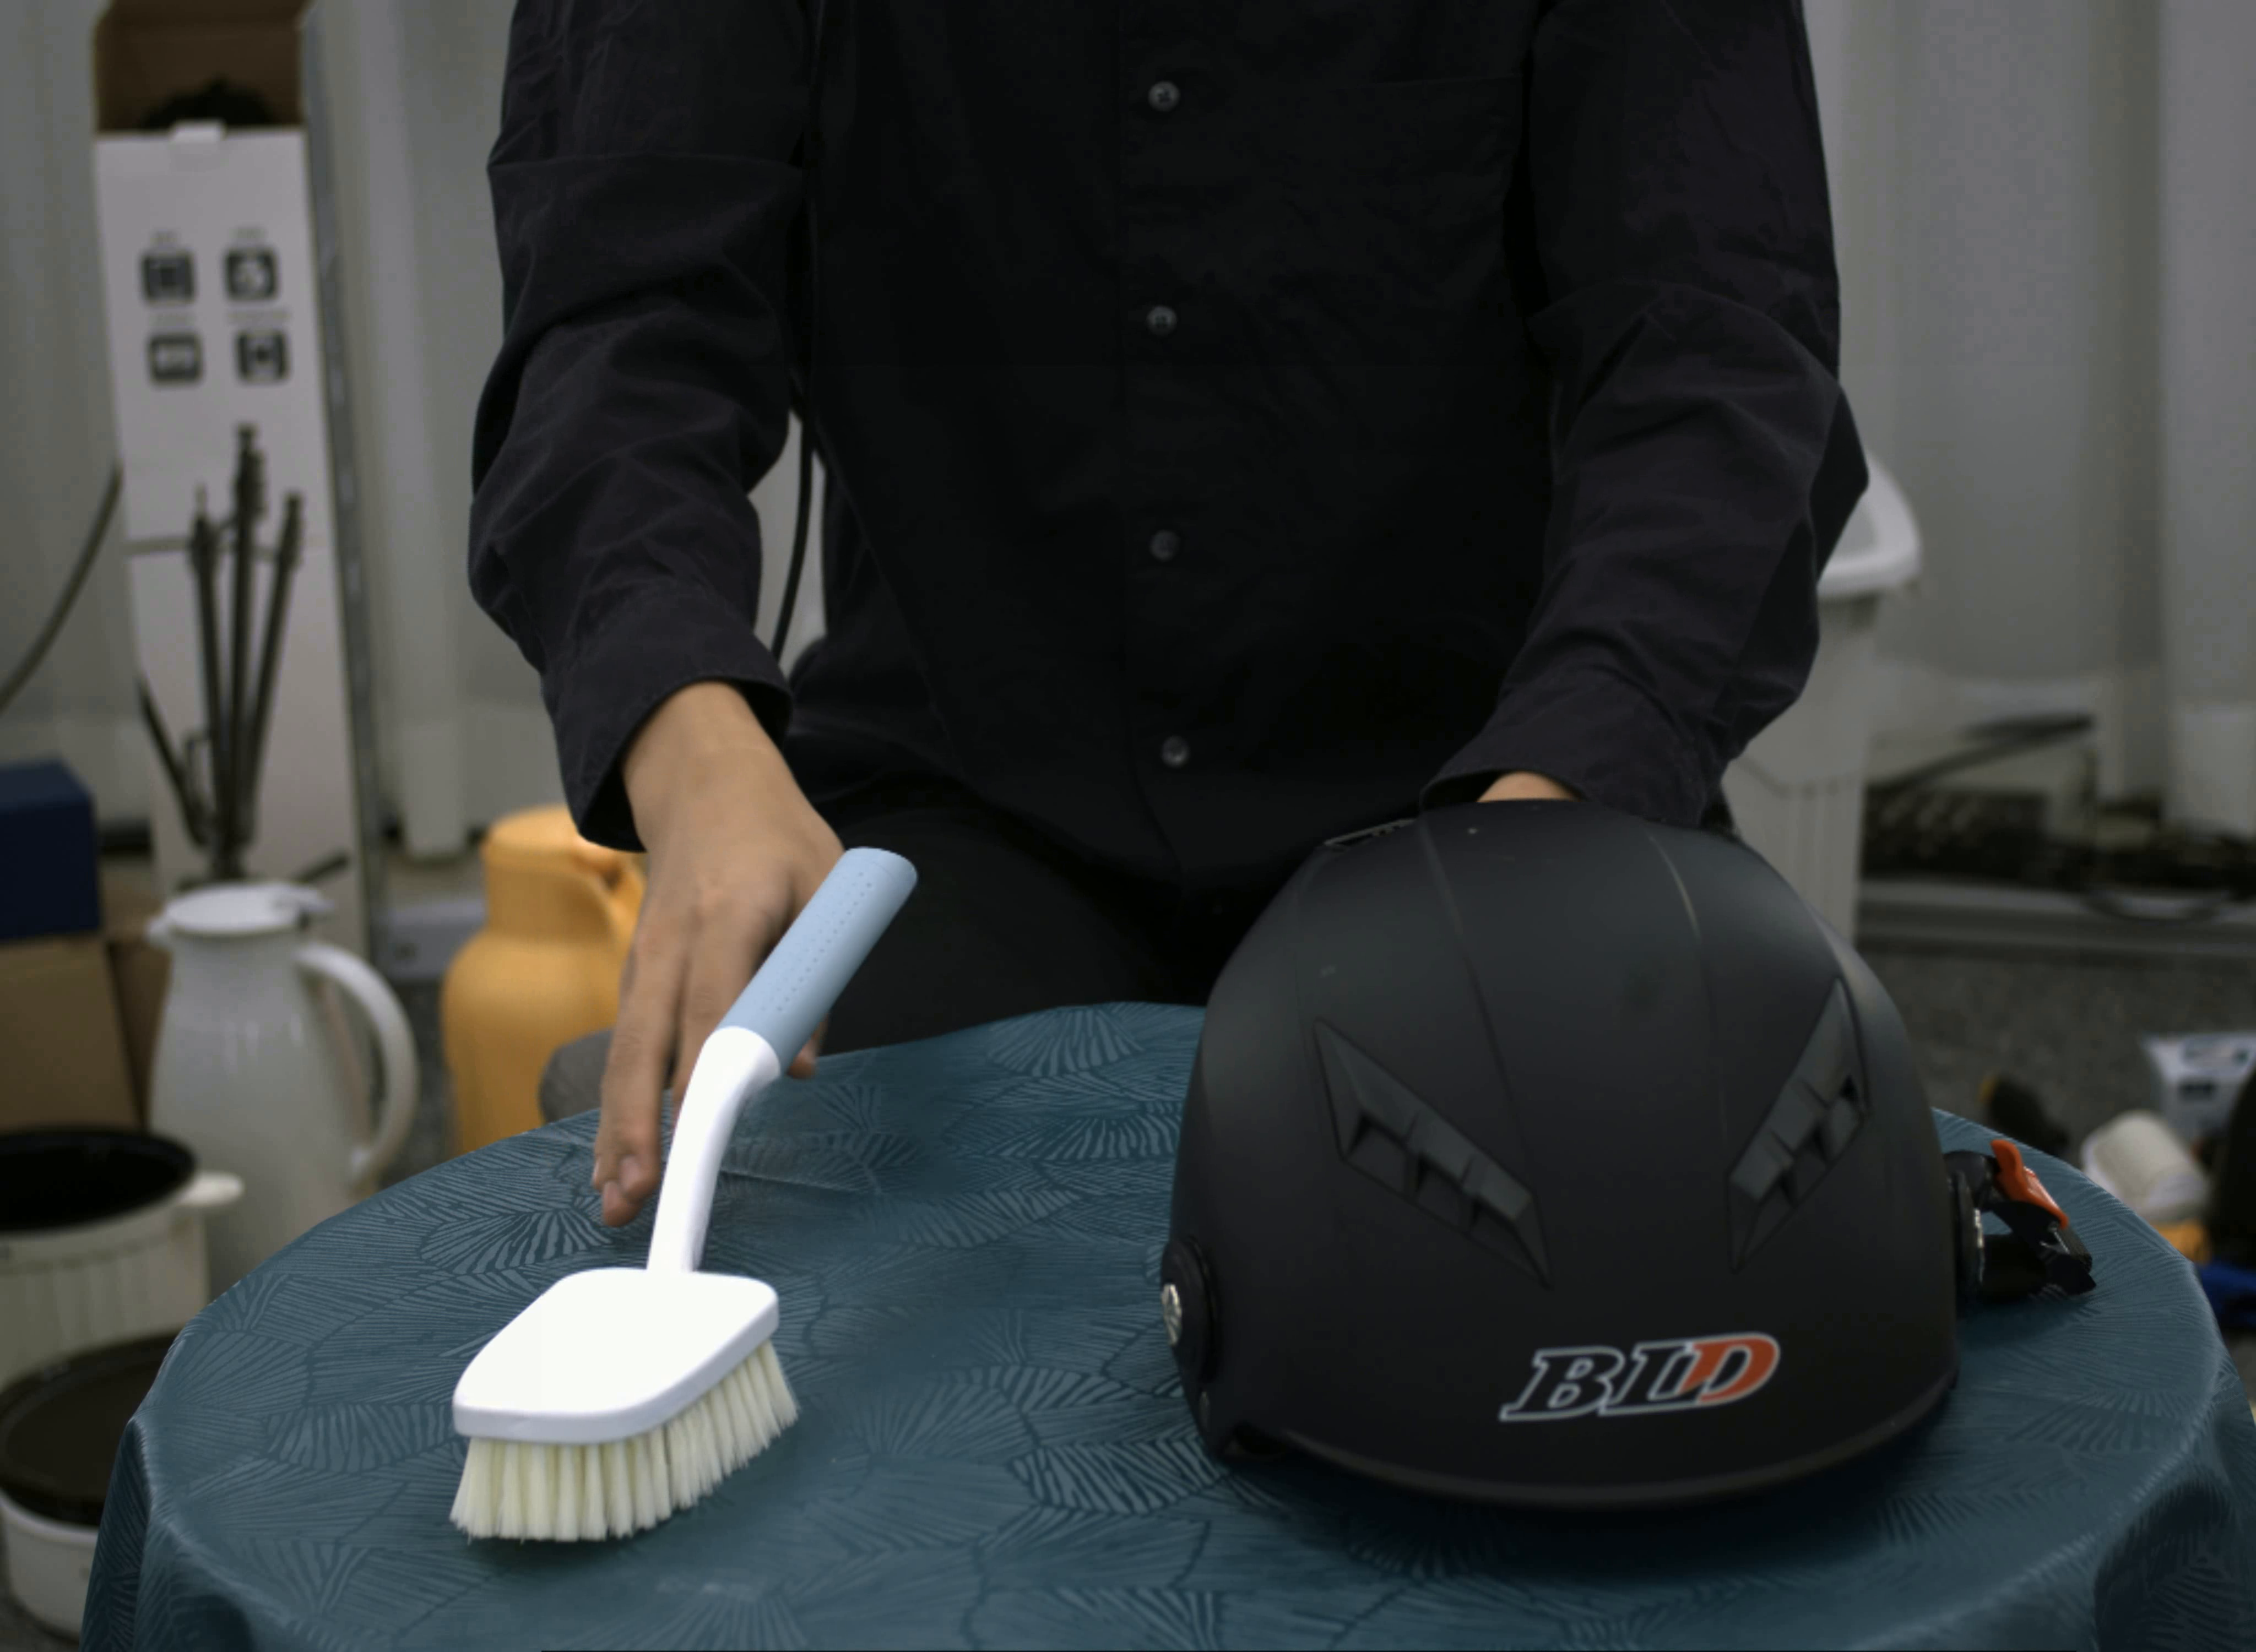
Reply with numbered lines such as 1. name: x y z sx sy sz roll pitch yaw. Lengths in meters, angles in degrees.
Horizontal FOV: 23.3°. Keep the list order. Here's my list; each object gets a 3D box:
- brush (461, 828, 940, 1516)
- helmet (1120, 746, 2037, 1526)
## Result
1. brush: -0.108 0.112 1.588 0.083 0.084 0.328 34 33 -1
2. helmet: 0.120 0.076 1.521 0.246 0.171 0.279 -5 18 -4
